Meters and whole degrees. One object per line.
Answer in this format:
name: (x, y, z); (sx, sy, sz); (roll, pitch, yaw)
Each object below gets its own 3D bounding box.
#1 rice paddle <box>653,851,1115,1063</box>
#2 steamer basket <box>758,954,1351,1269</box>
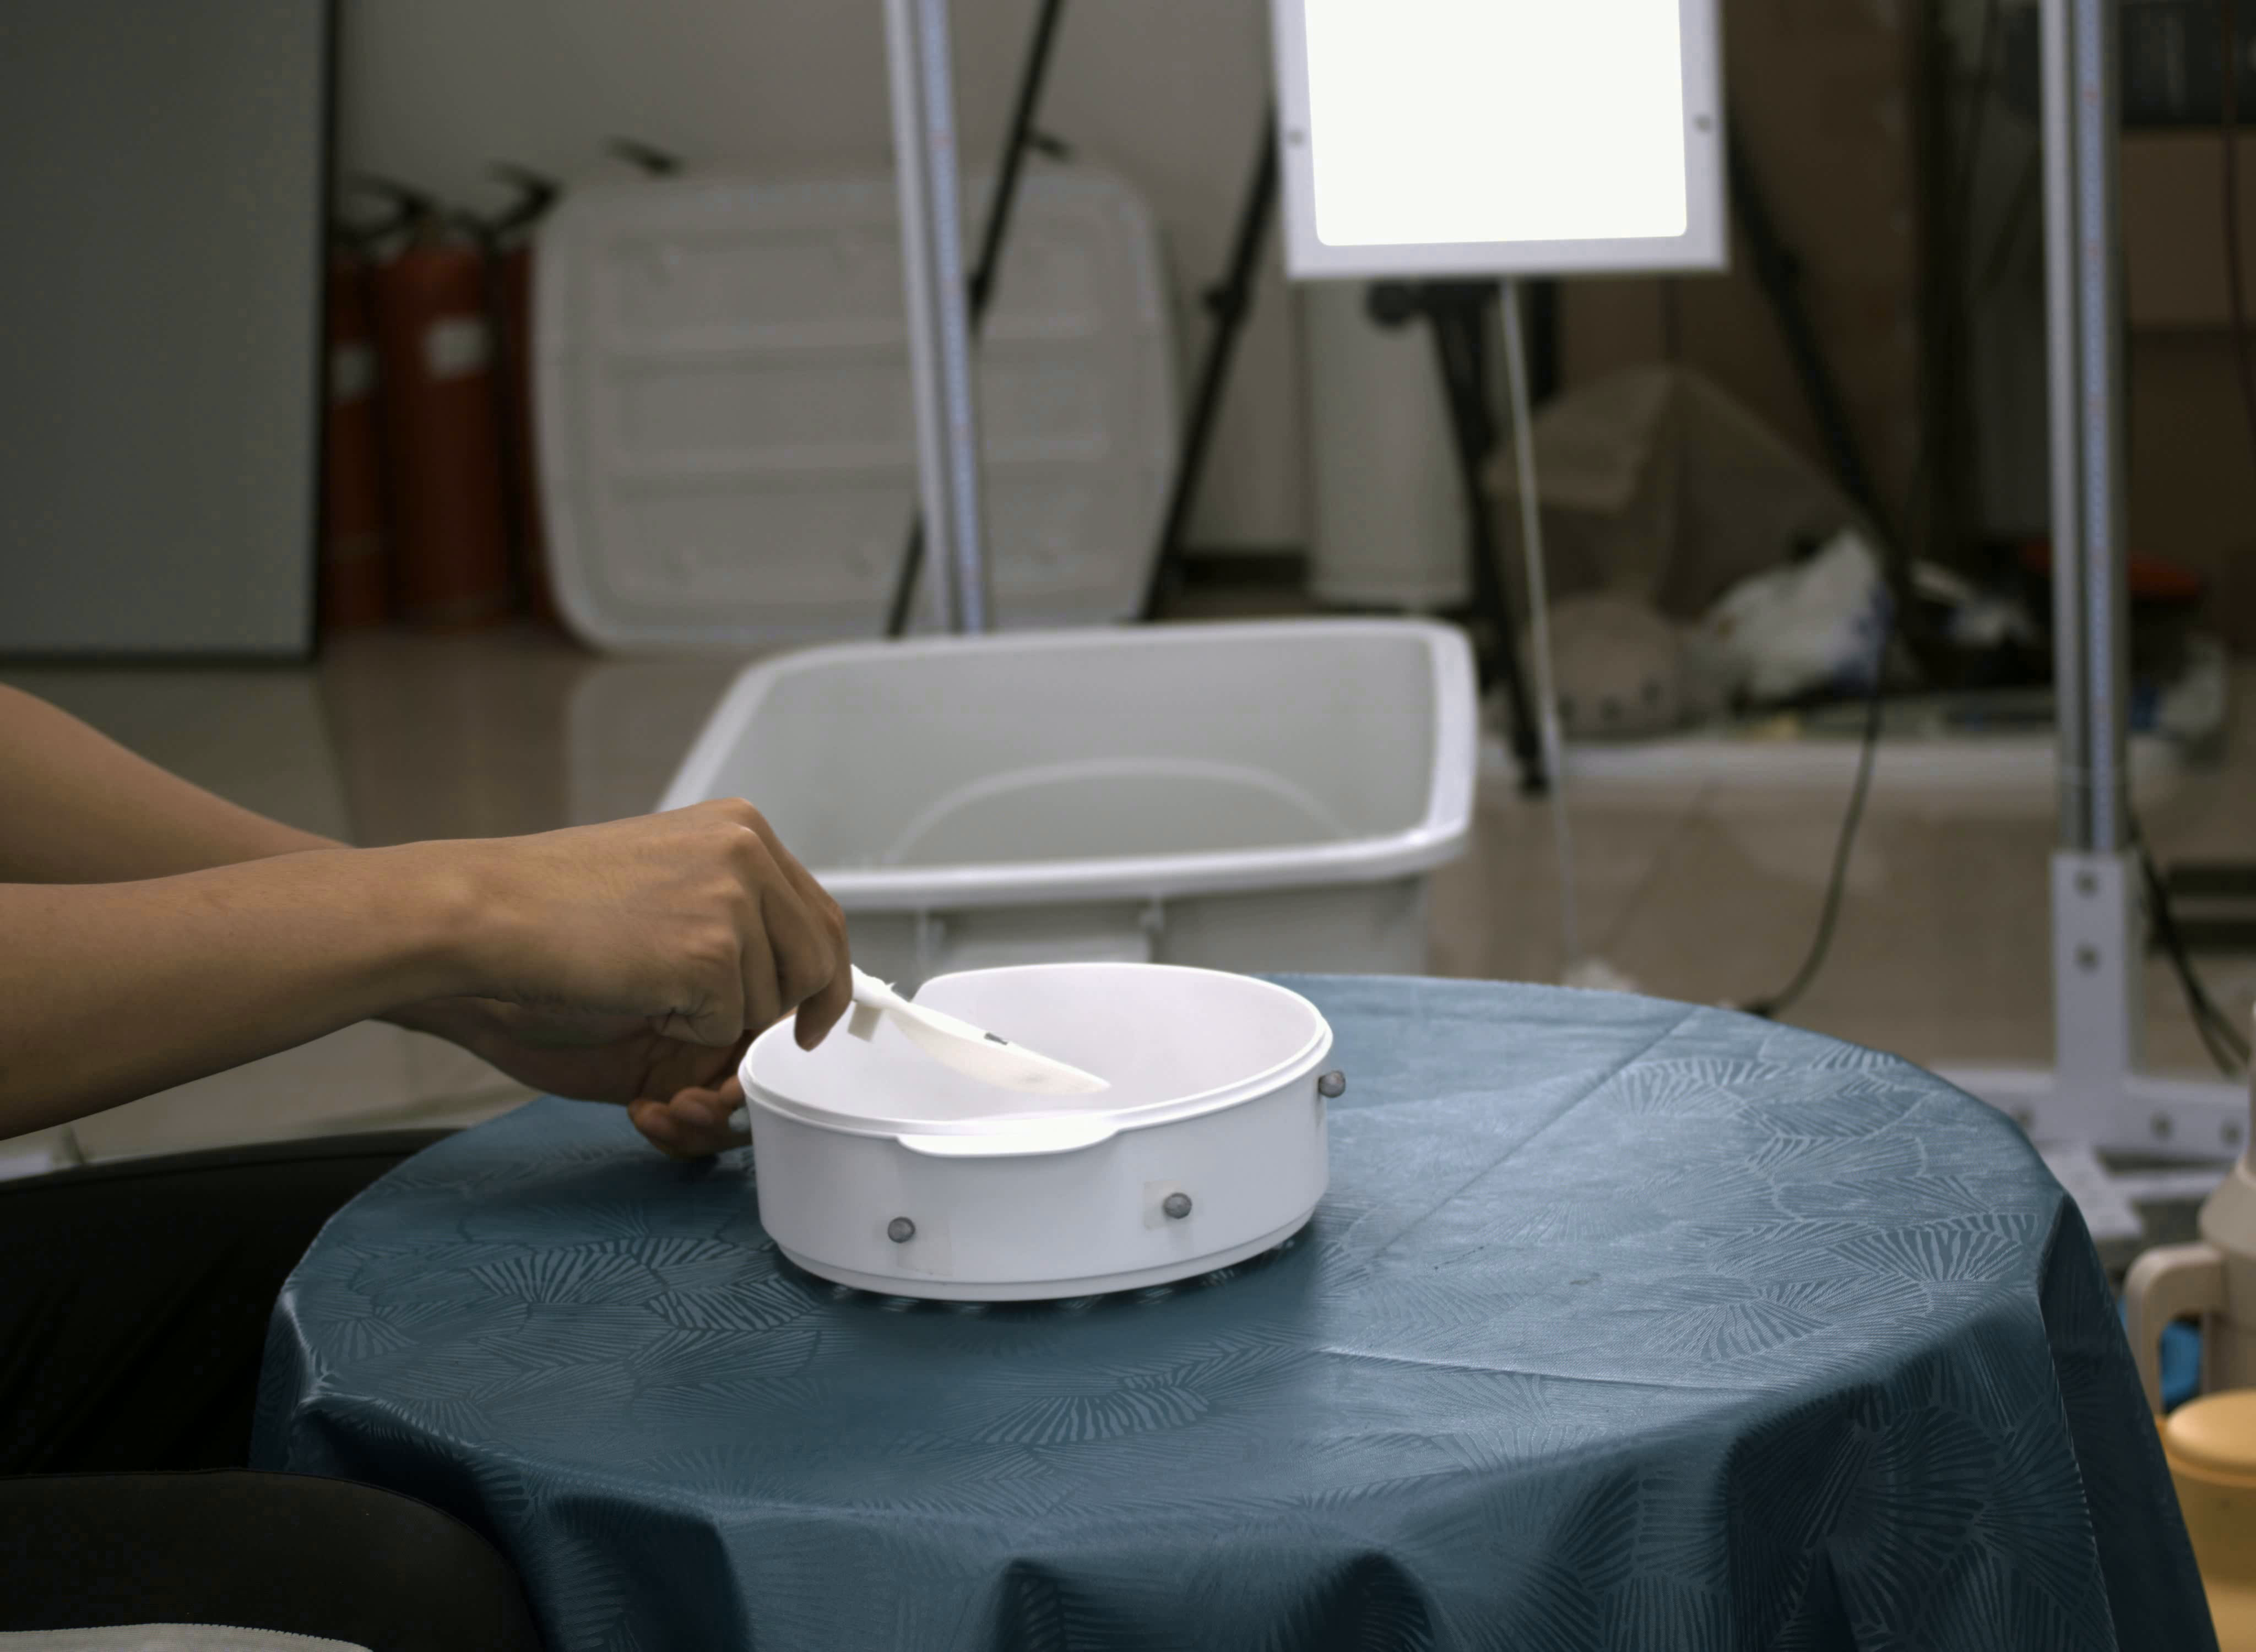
rice paddle: (-0.077, 0.048, 1.825); (0.070, 0.029, 0.201); (21, 0, 44)
steamer basket: (-0.023, 0.097, 1.869); (0.202, 0.069, 0.229); (-3, 11, 7)
